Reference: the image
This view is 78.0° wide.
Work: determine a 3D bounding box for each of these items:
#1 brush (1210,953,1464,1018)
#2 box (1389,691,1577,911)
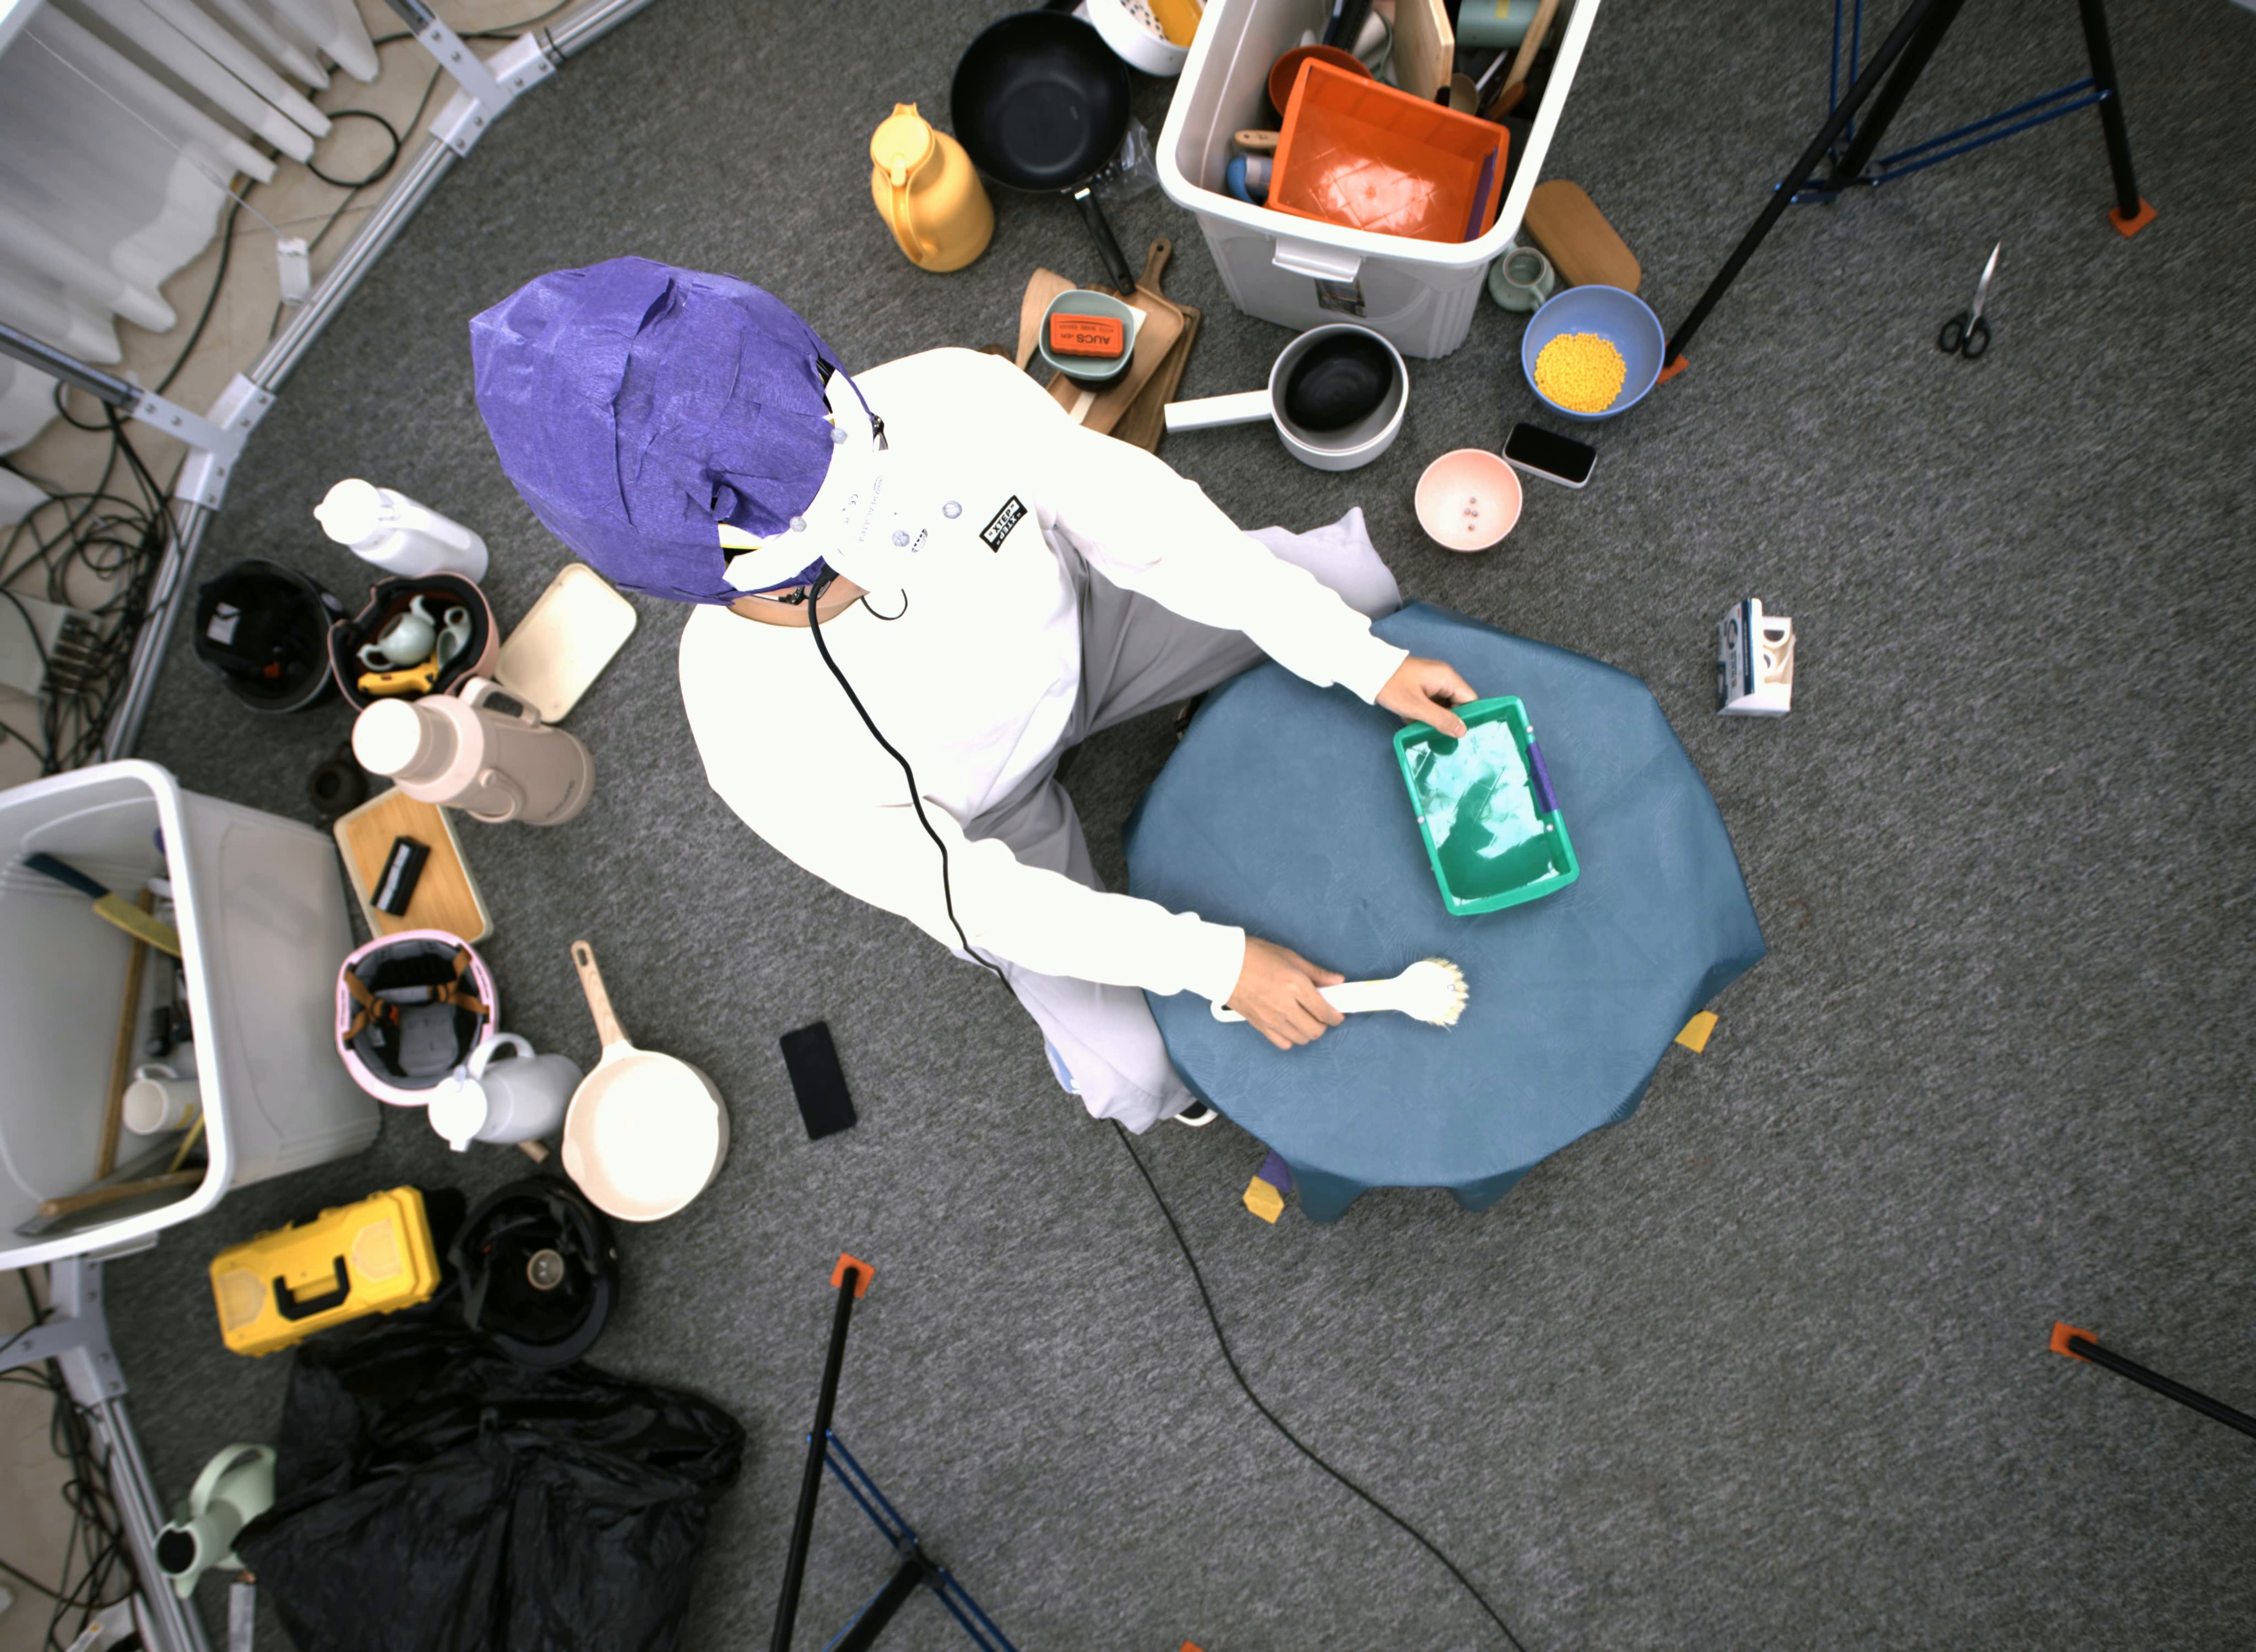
[{"bbox_3d":[0.218,0.175,1.453,0.269,0.056,0.067,-10,71,25],"label":"brush"},{"bbox_3d":[0.363,-0.024,1.415,0.139,0.065,0.209,-18,81,9],"label":"box"}]
